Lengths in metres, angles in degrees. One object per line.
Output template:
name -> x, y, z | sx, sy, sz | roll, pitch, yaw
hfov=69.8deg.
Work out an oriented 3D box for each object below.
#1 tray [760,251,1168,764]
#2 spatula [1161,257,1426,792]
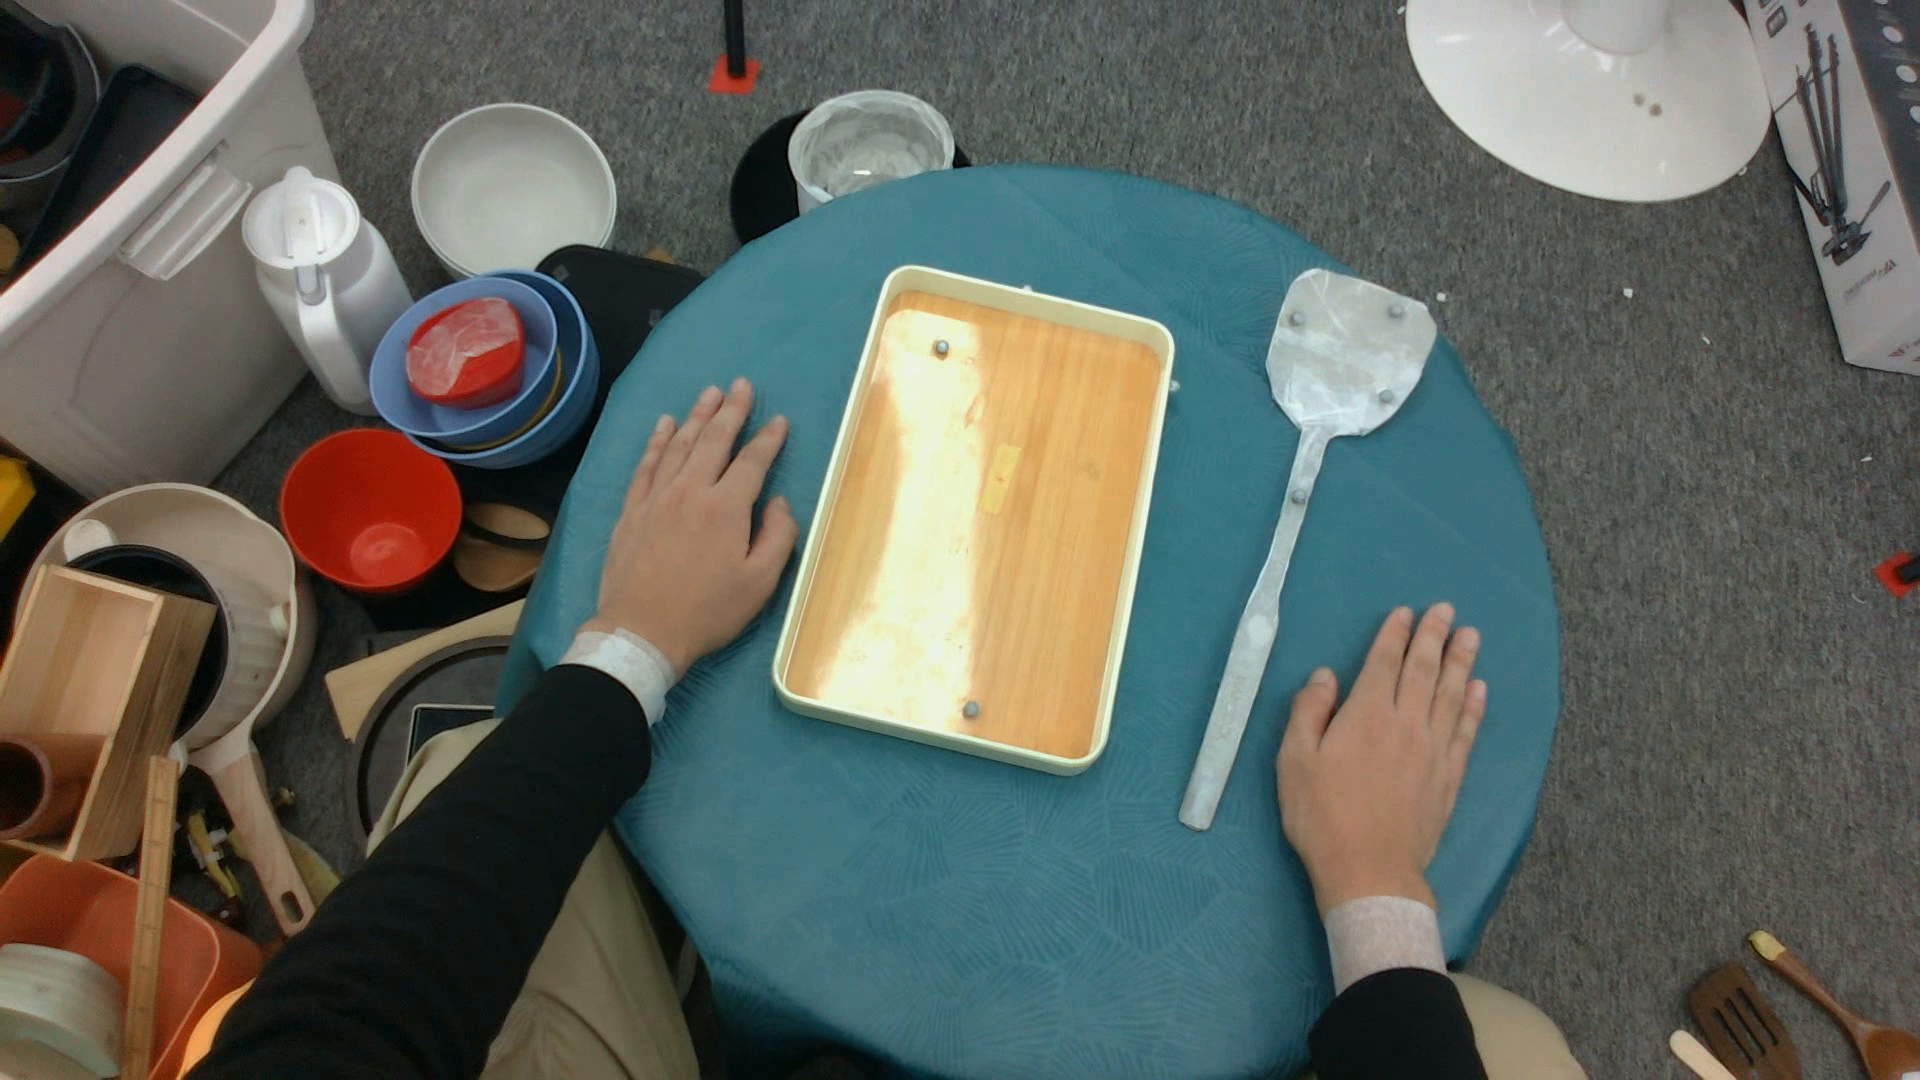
tray -> 0.010, -0.029, 0.821 | 0.191, 0.027, 0.301 | 14, 65, 0
spatula -> 0.191, -0.015, 0.828 | 0.098, 0.044, 0.366 | 22, 65, 4
